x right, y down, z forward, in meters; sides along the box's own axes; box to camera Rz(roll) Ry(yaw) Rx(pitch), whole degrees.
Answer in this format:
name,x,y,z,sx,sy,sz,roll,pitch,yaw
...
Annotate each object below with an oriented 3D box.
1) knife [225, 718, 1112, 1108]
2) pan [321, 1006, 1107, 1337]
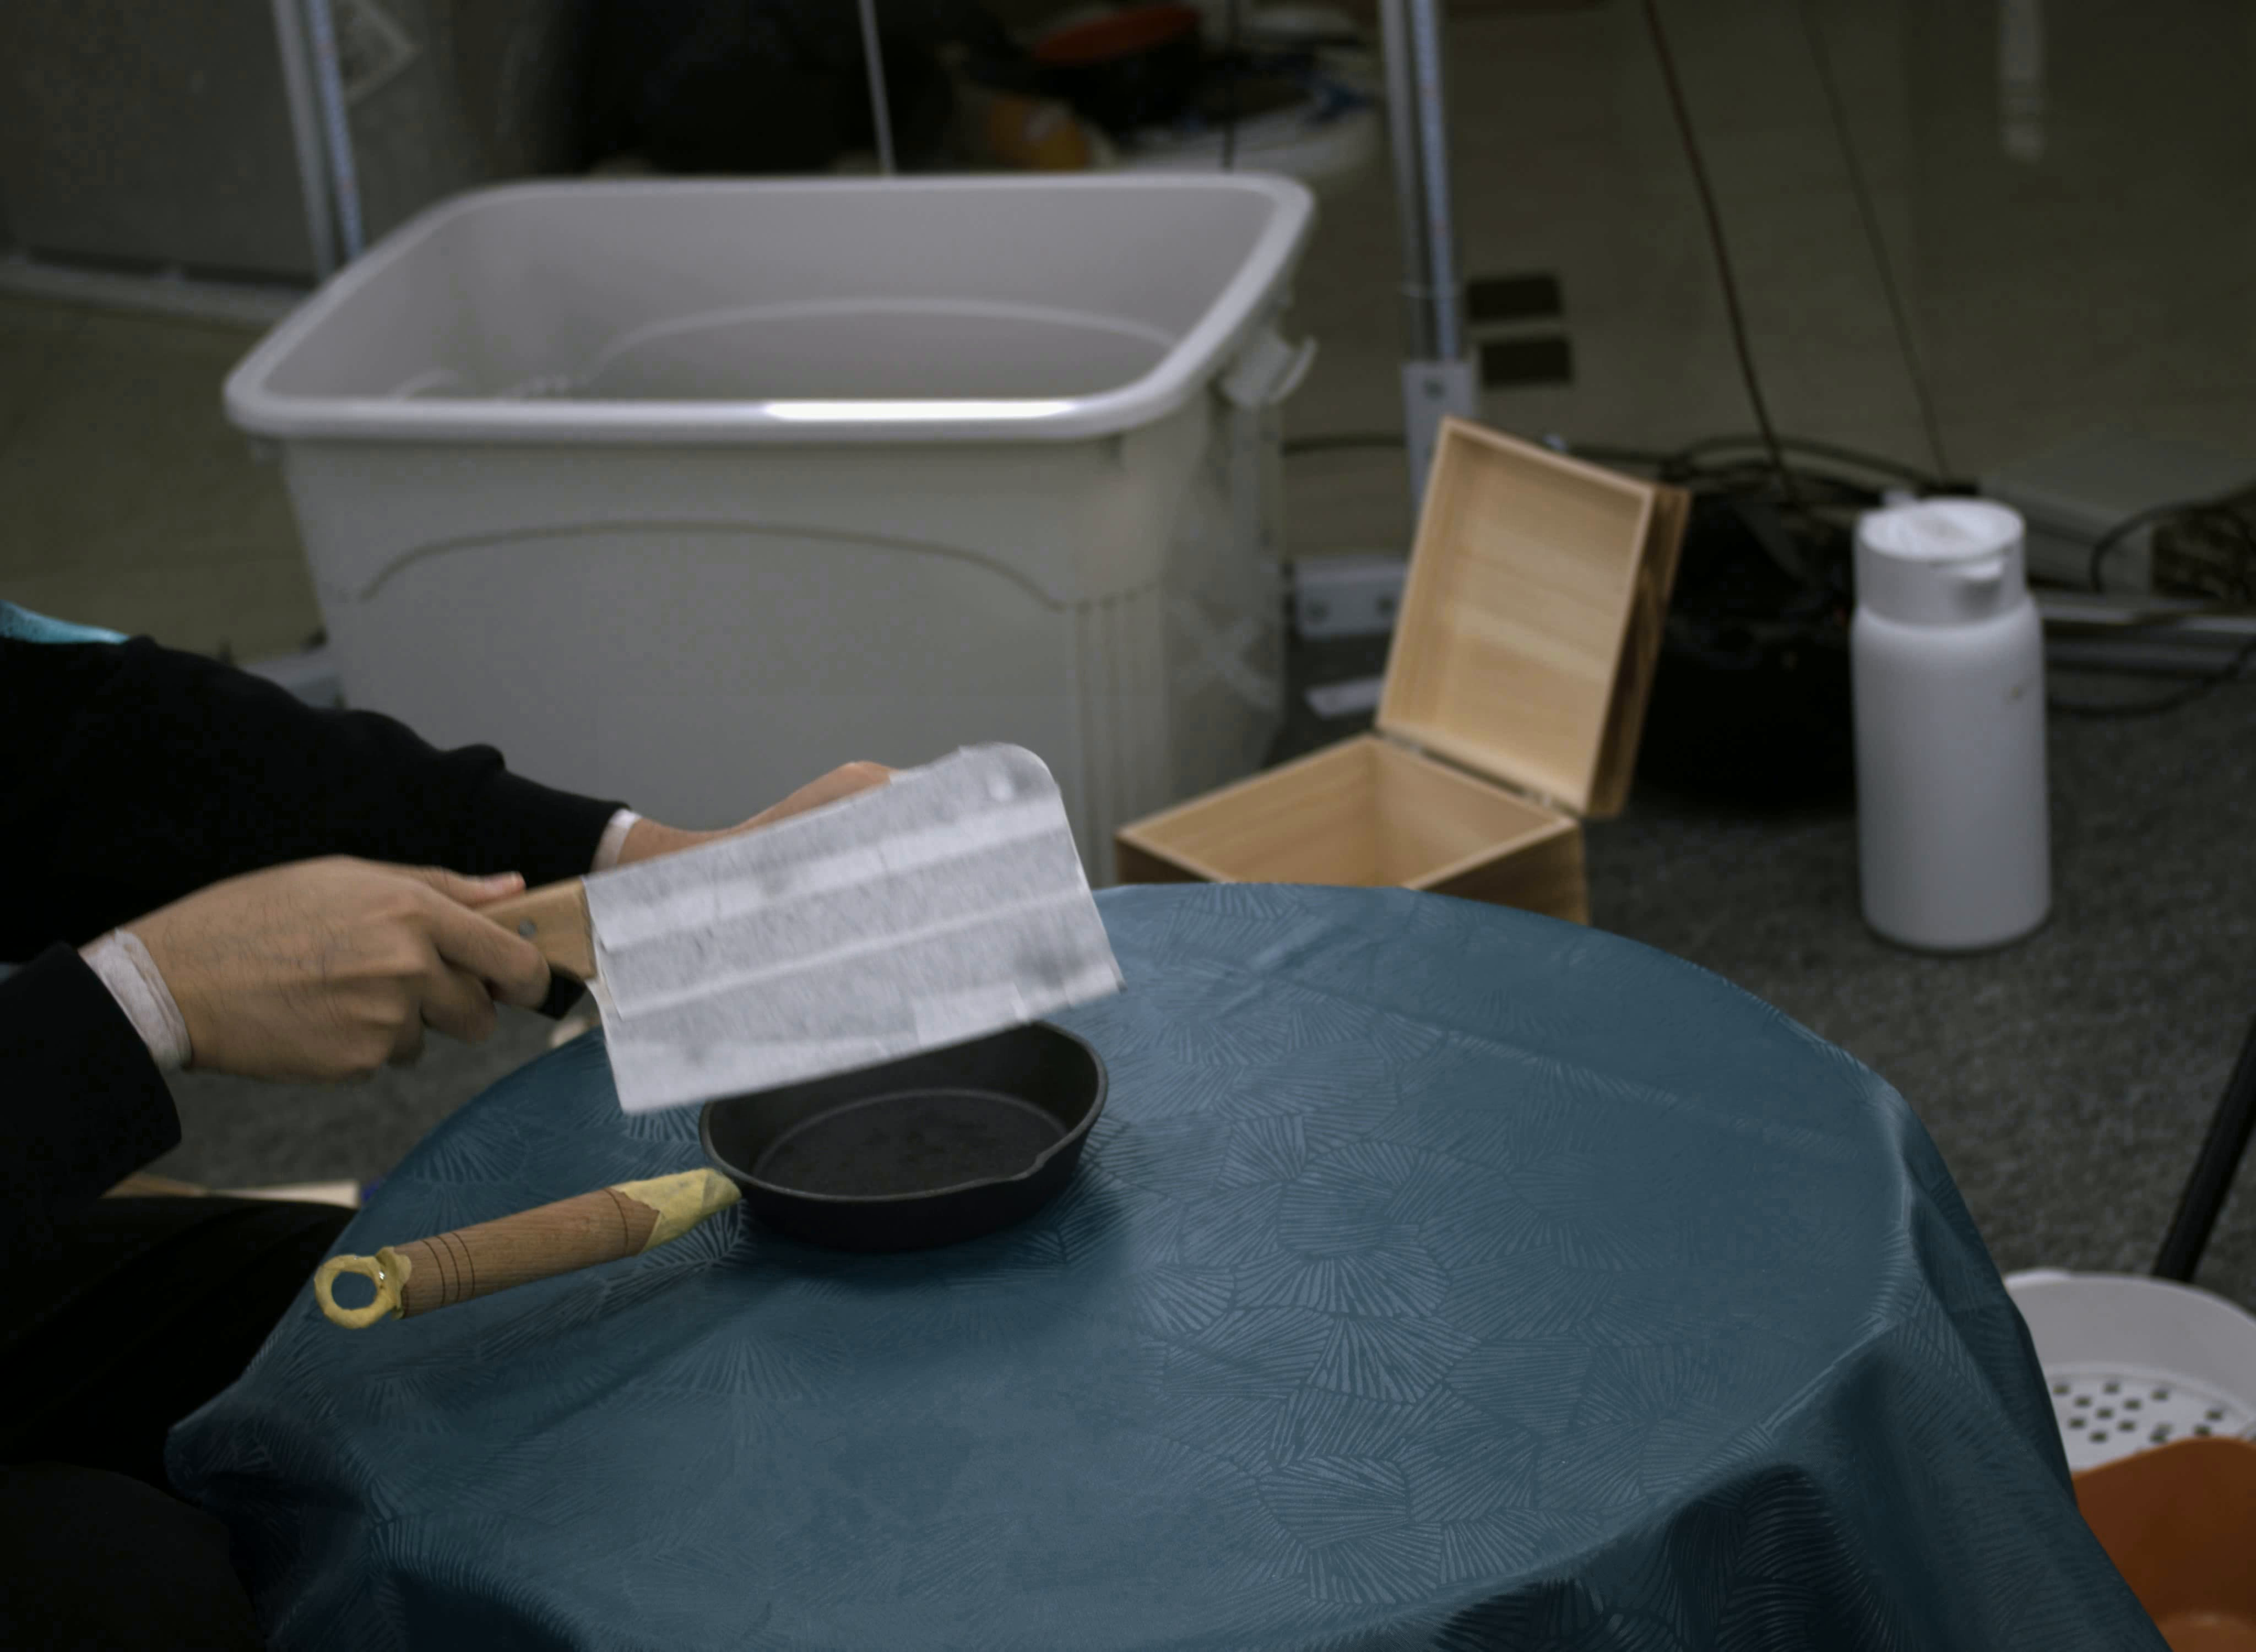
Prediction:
name,x,y,z,sx,sy,sz,roll,pitch,yaw
knife,-0.166,0.040,2.027,0.315,0.114,0.022,-11,3,-7
pan,-0.155,0.138,2.127,0.322,0.050,0.167,-19,28,-28
